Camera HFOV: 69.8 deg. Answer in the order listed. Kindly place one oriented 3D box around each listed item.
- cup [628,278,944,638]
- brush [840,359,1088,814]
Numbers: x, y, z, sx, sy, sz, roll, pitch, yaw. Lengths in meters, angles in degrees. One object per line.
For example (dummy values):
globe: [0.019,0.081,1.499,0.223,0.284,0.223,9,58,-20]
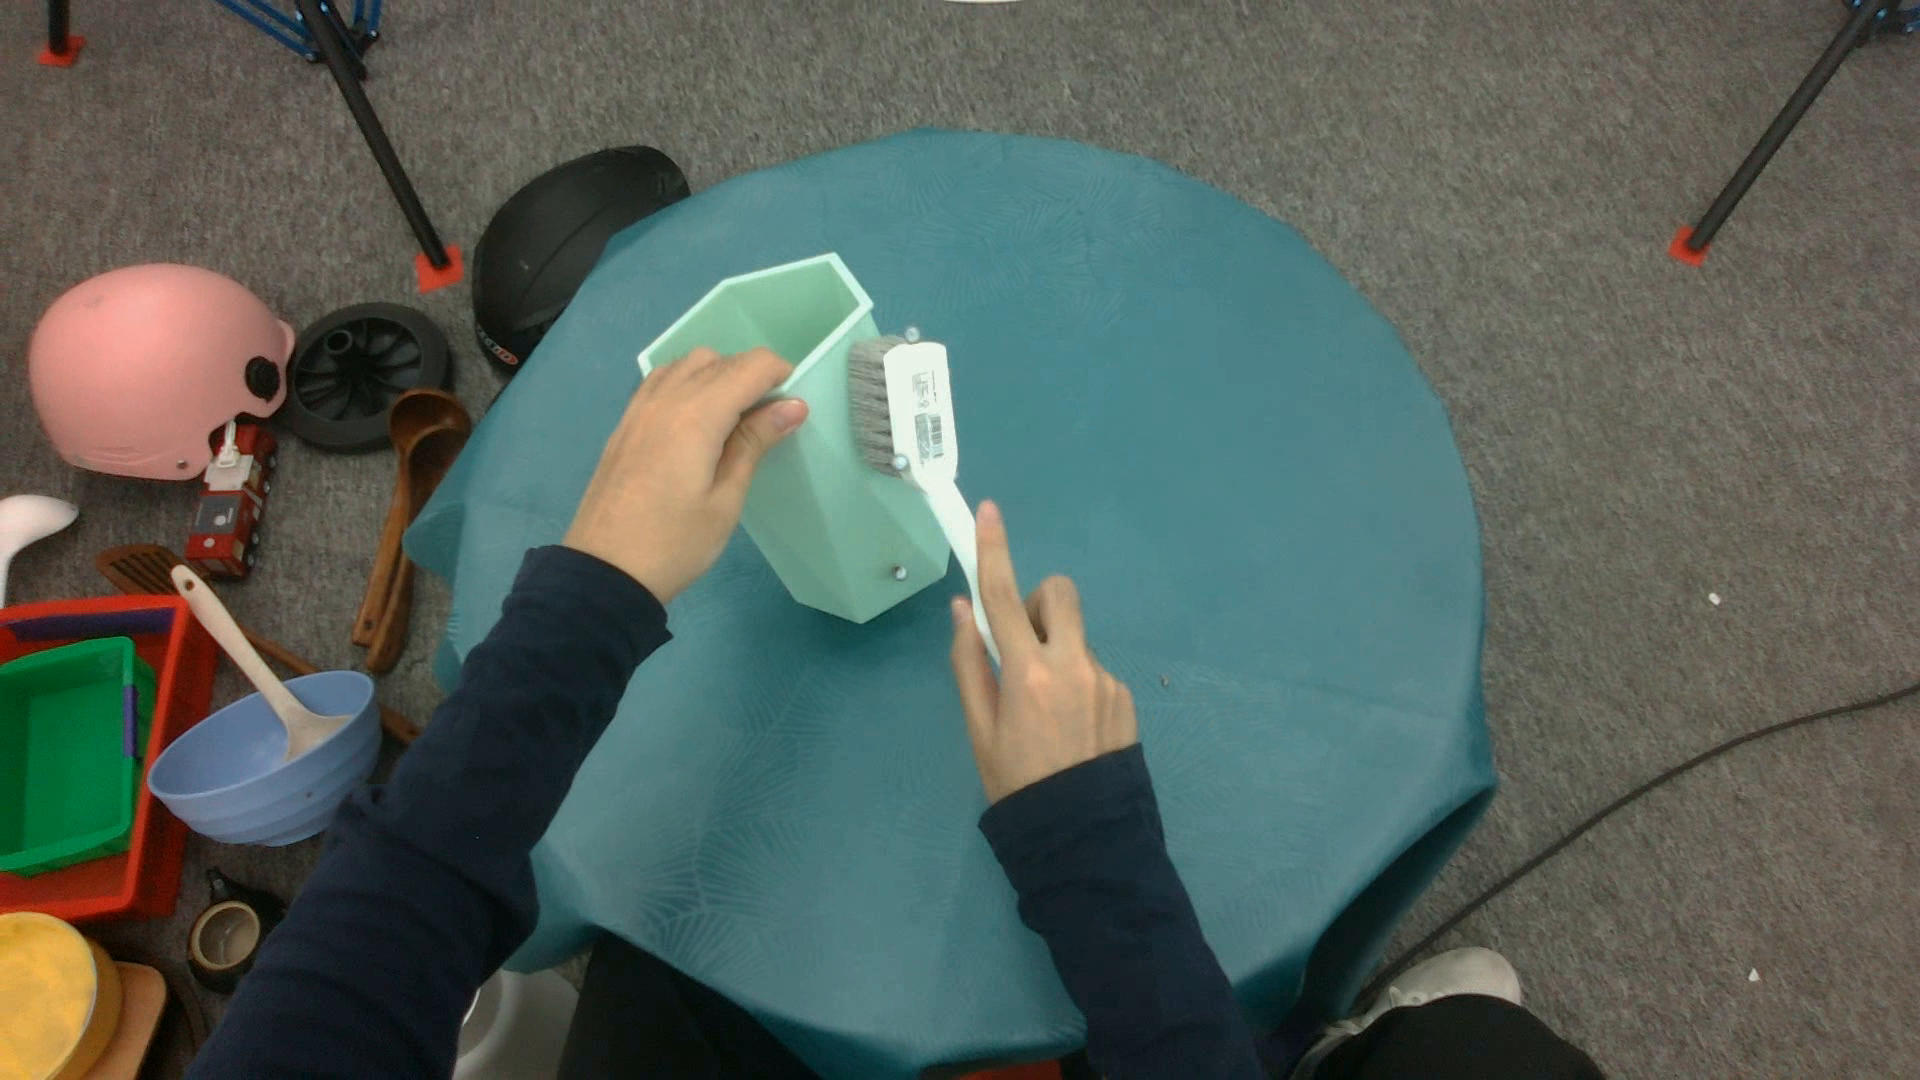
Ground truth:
cup: [-0.082,-0.036,0.740,0.115,0.162,0.131,11,52,38]
brush: [-0.001,0.024,0.680,0.034,0.050,0.243,-27,97,-51]
